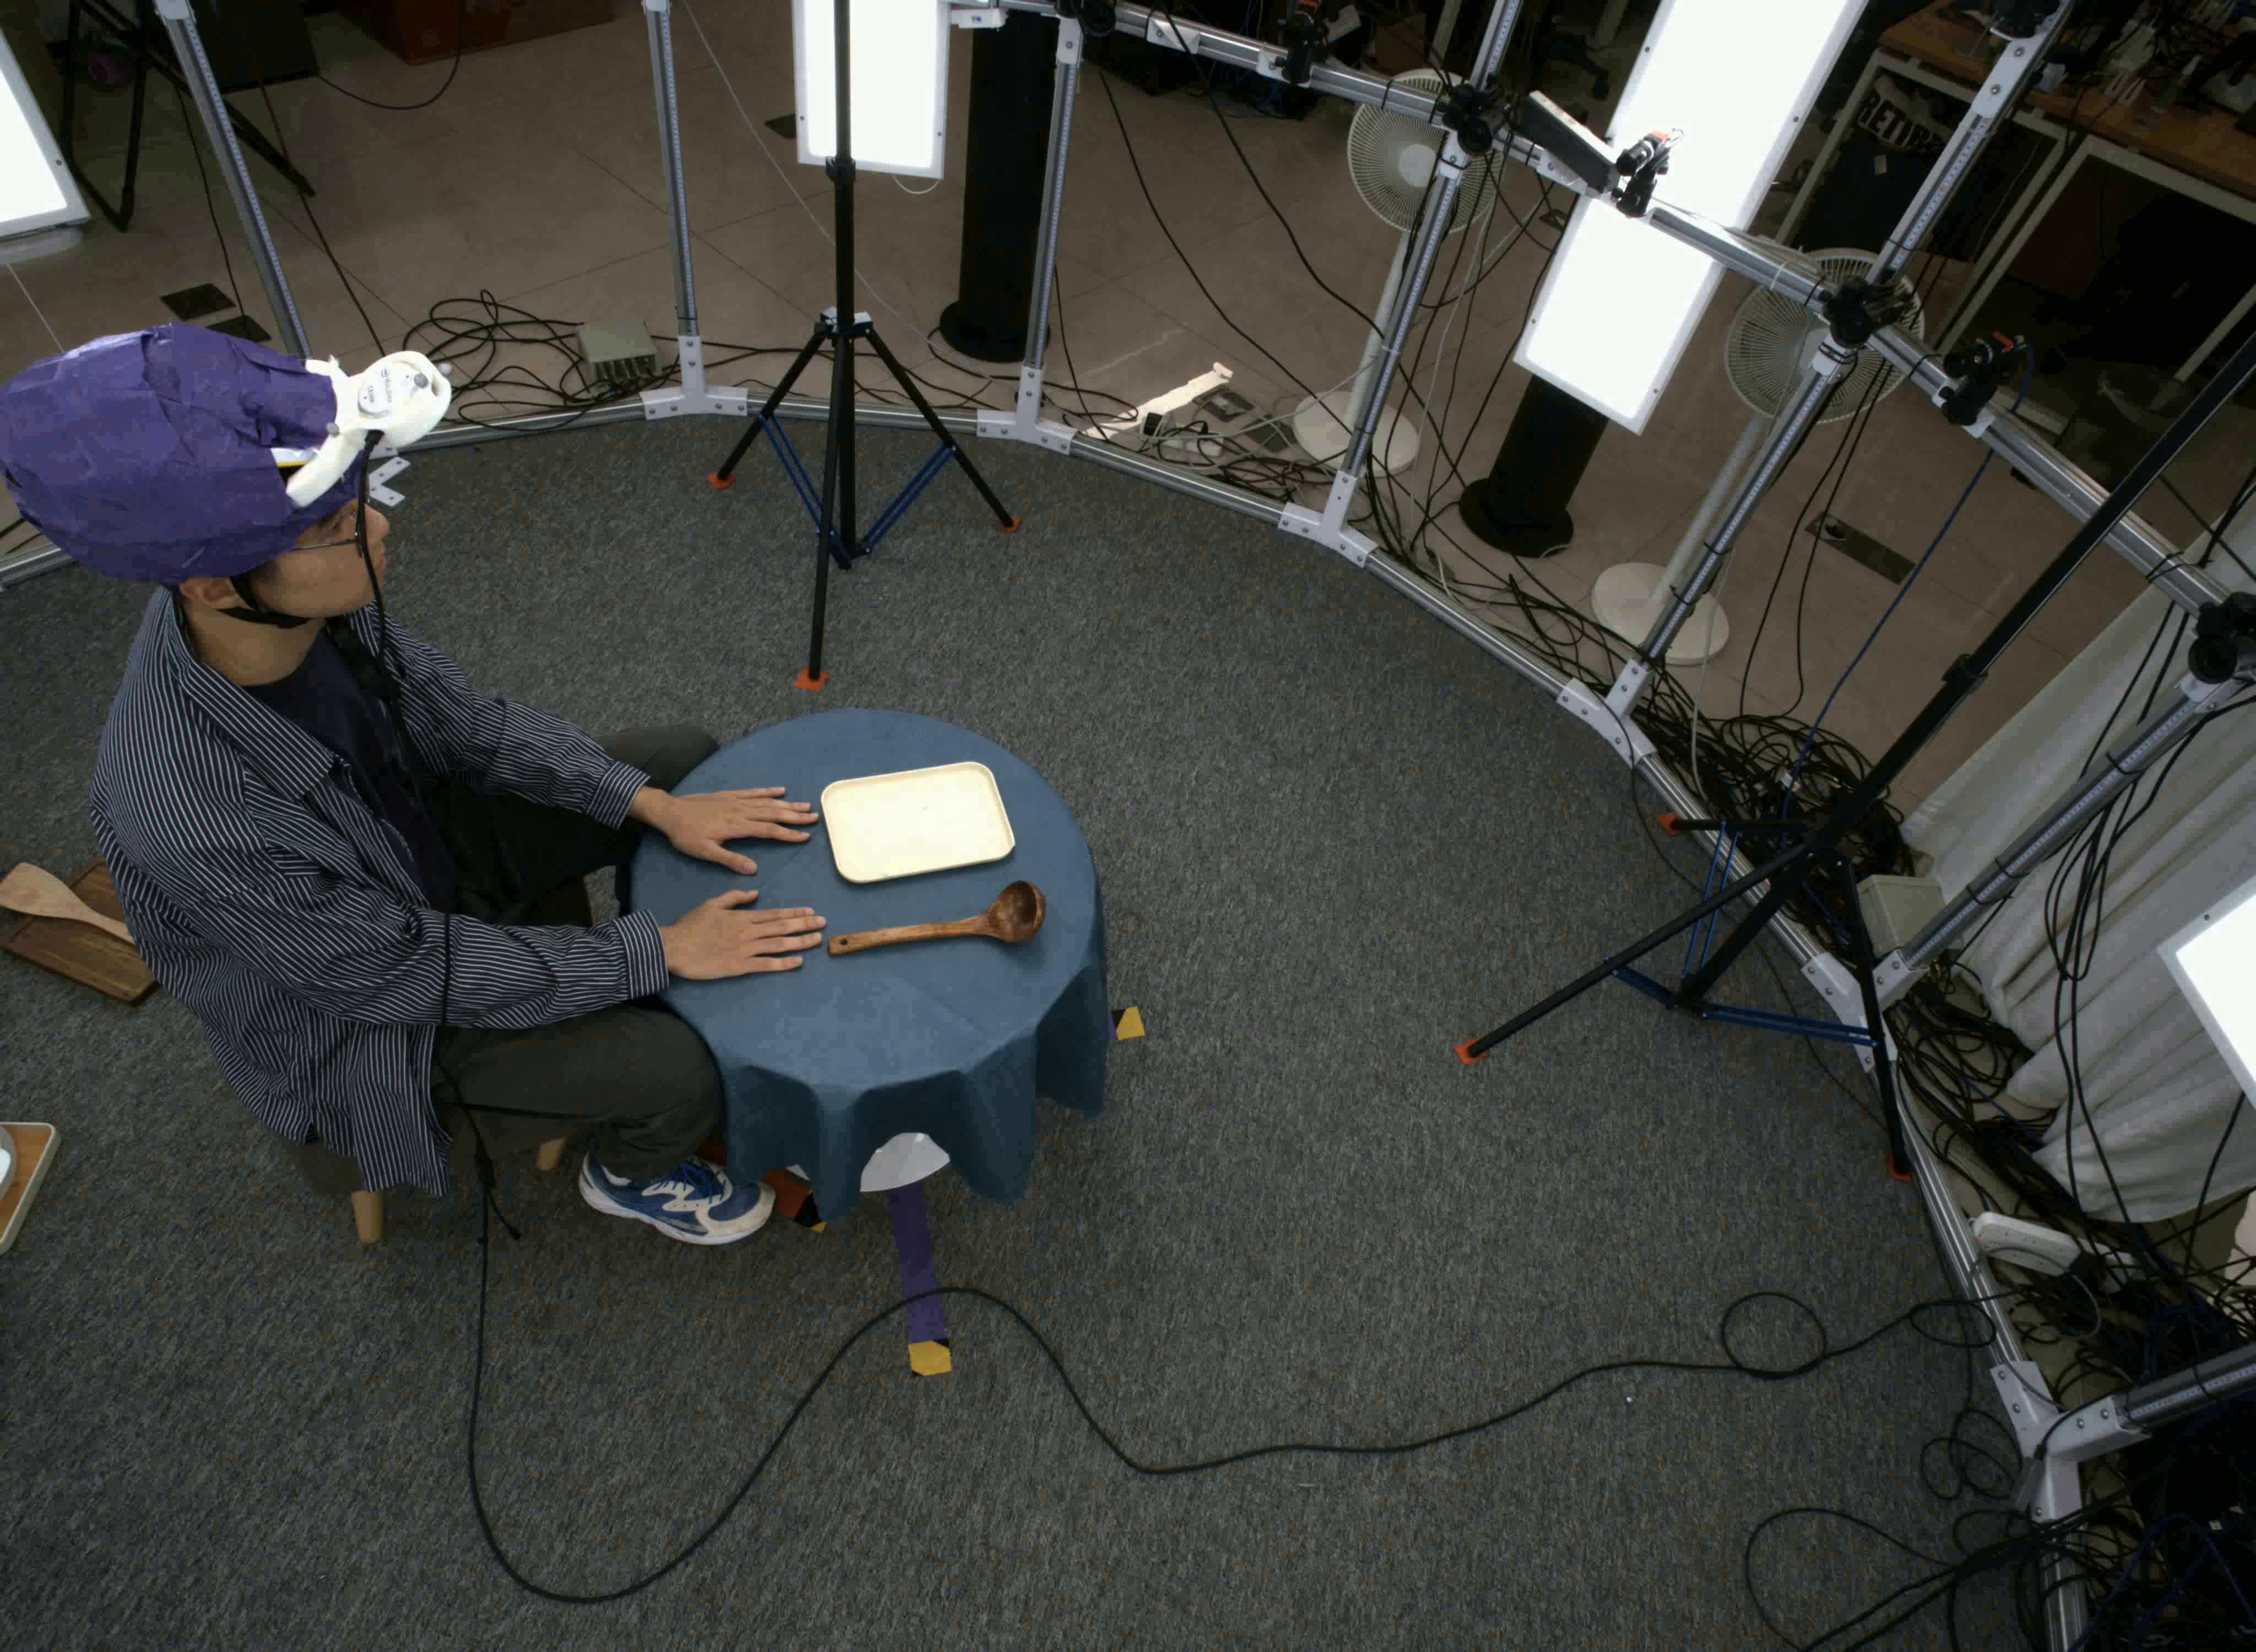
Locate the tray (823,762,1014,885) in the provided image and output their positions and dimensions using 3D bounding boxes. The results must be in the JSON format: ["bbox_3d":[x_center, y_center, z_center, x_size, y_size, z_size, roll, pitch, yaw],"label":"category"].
[{"bbox_3d":[-0.285,-0.005,1.767,0.240,0.018,0.167,-10,57,-19],"label":"tray"}]

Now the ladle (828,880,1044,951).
[{"bbox_3d":[-0.241,0.120,1.646,0.275,0.078,0.080,-5,59,-17],"label":"ladle"}]
